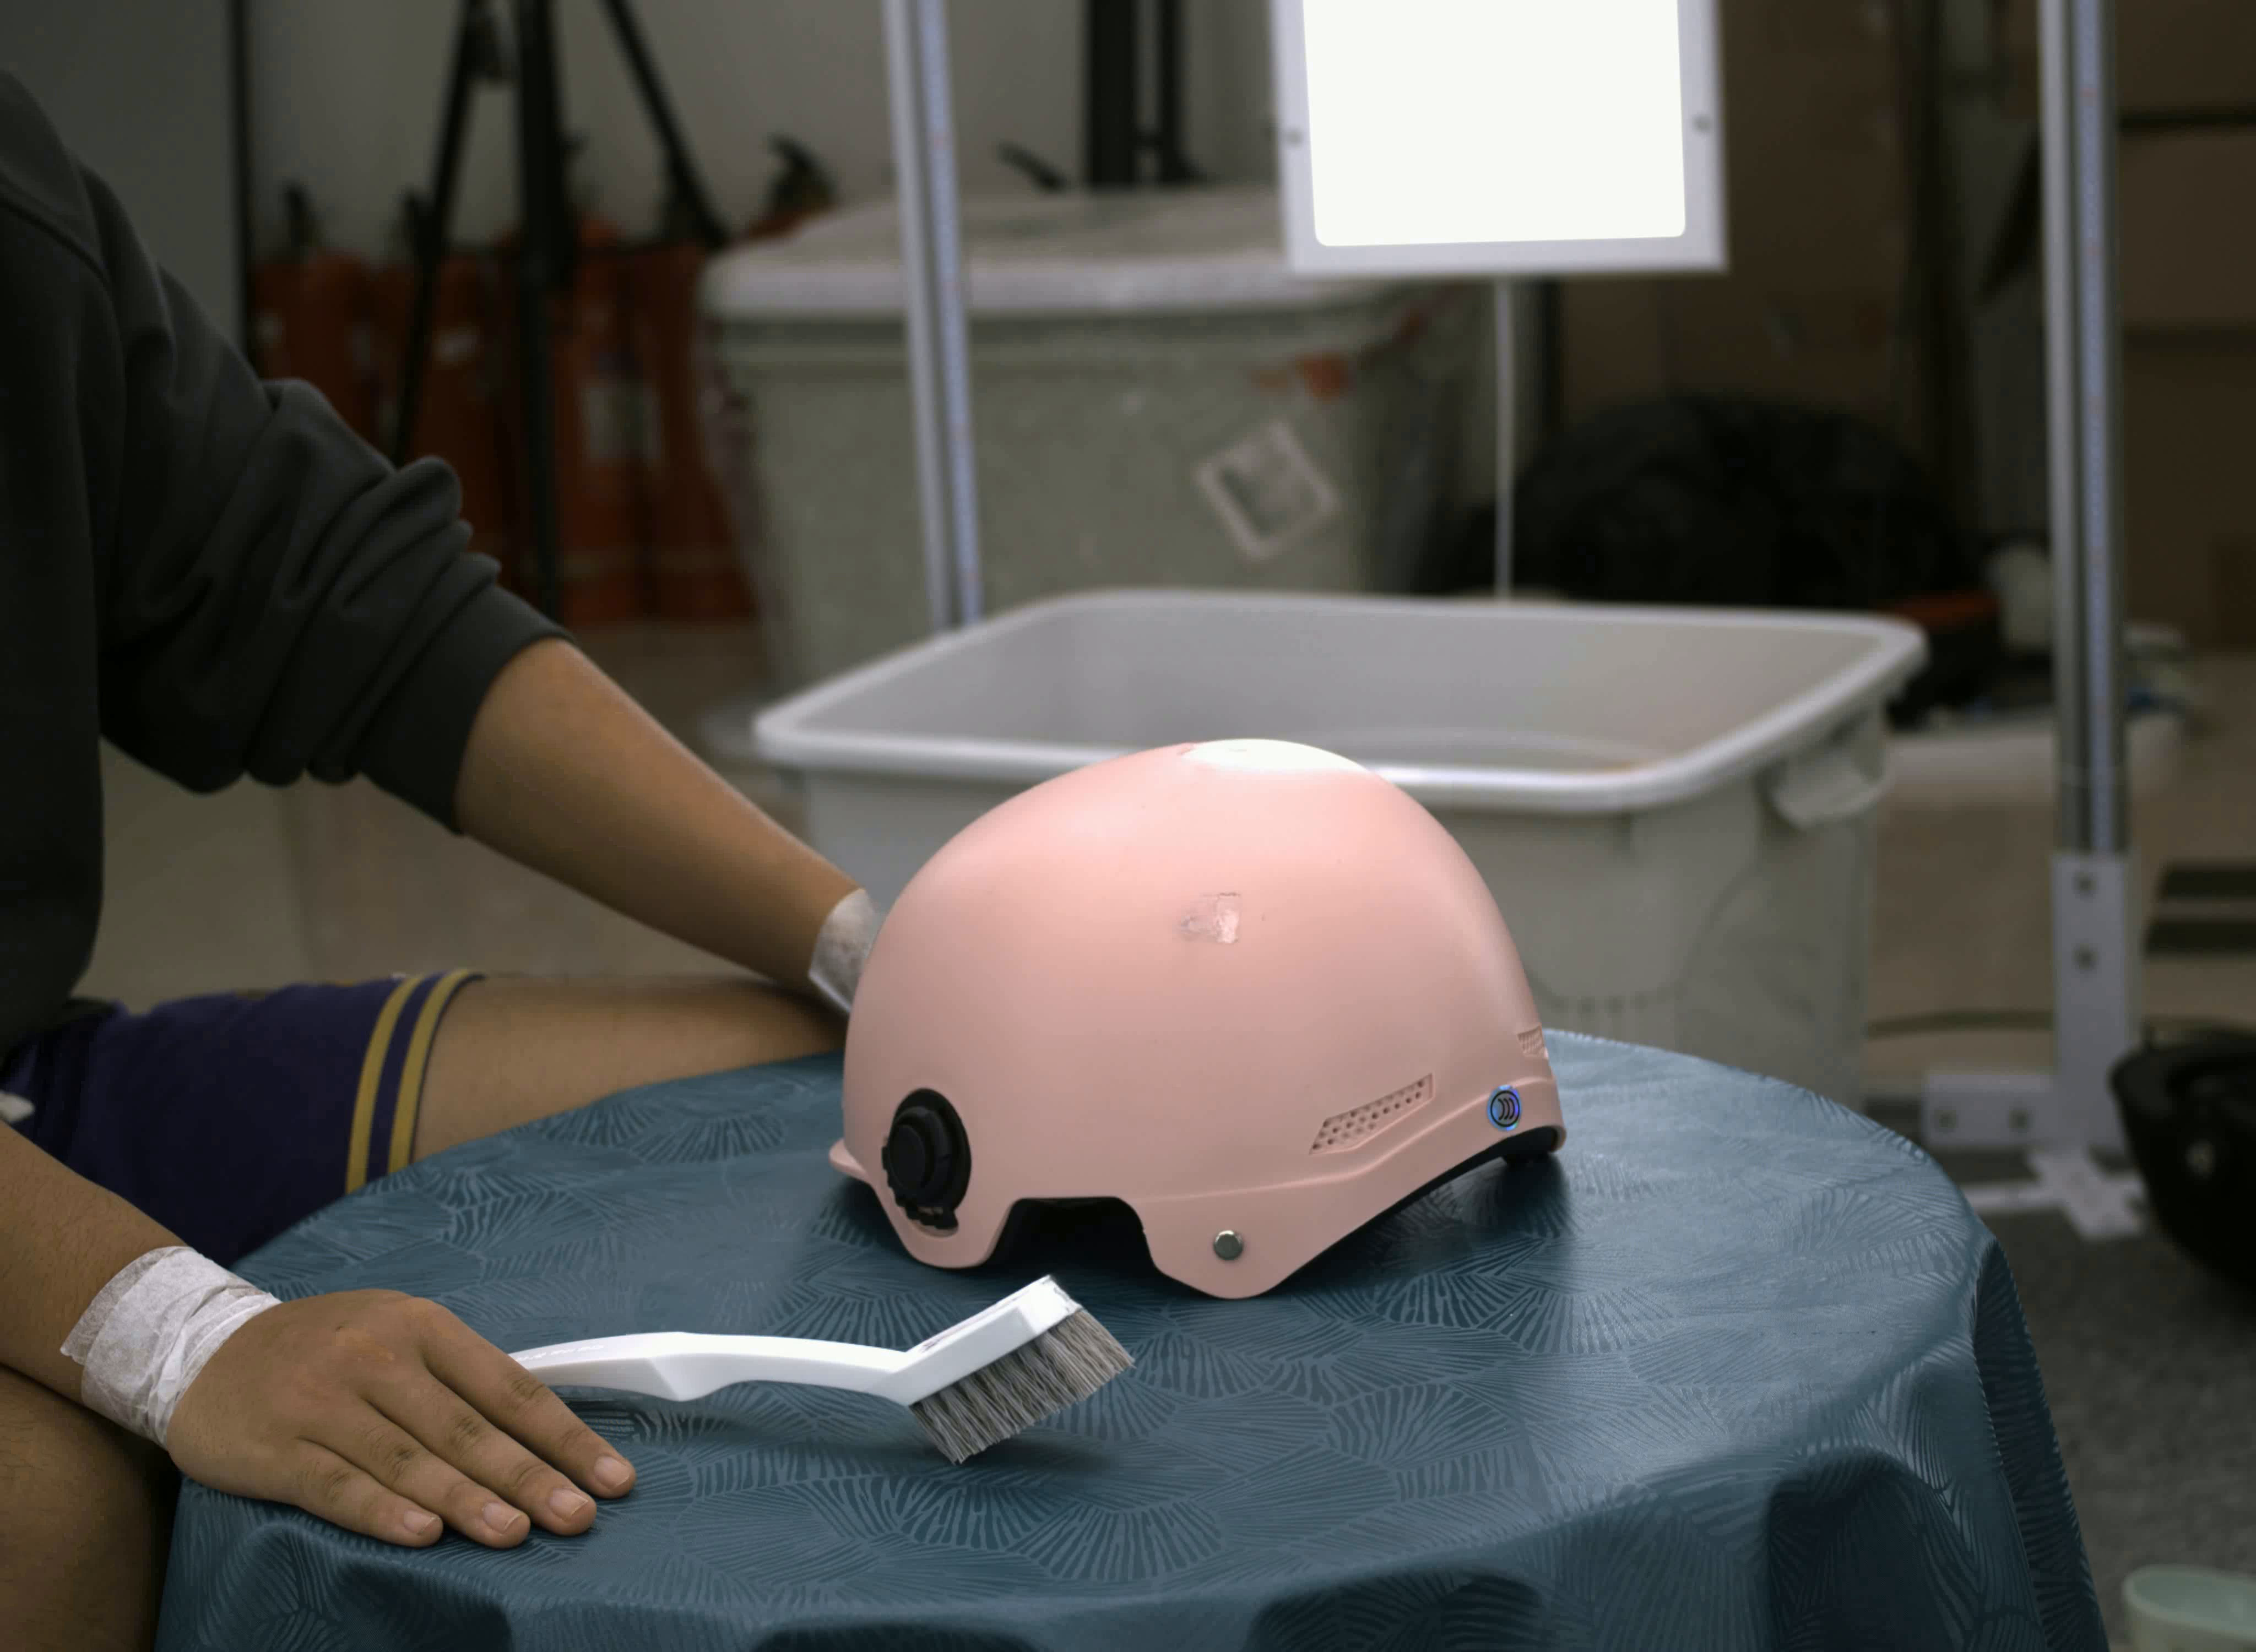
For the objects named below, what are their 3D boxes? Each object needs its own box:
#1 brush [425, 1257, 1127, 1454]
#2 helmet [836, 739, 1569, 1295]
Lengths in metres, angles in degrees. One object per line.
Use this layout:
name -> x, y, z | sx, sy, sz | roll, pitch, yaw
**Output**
brush -> -0.110, 0.175, 1.691 | 0.248, 0.050, 0.033 | -13, 12, 31
helmet -> 0.014, 0.052, 1.880 | 0.272, 0.159, 0.228 | 1, 15, 41
